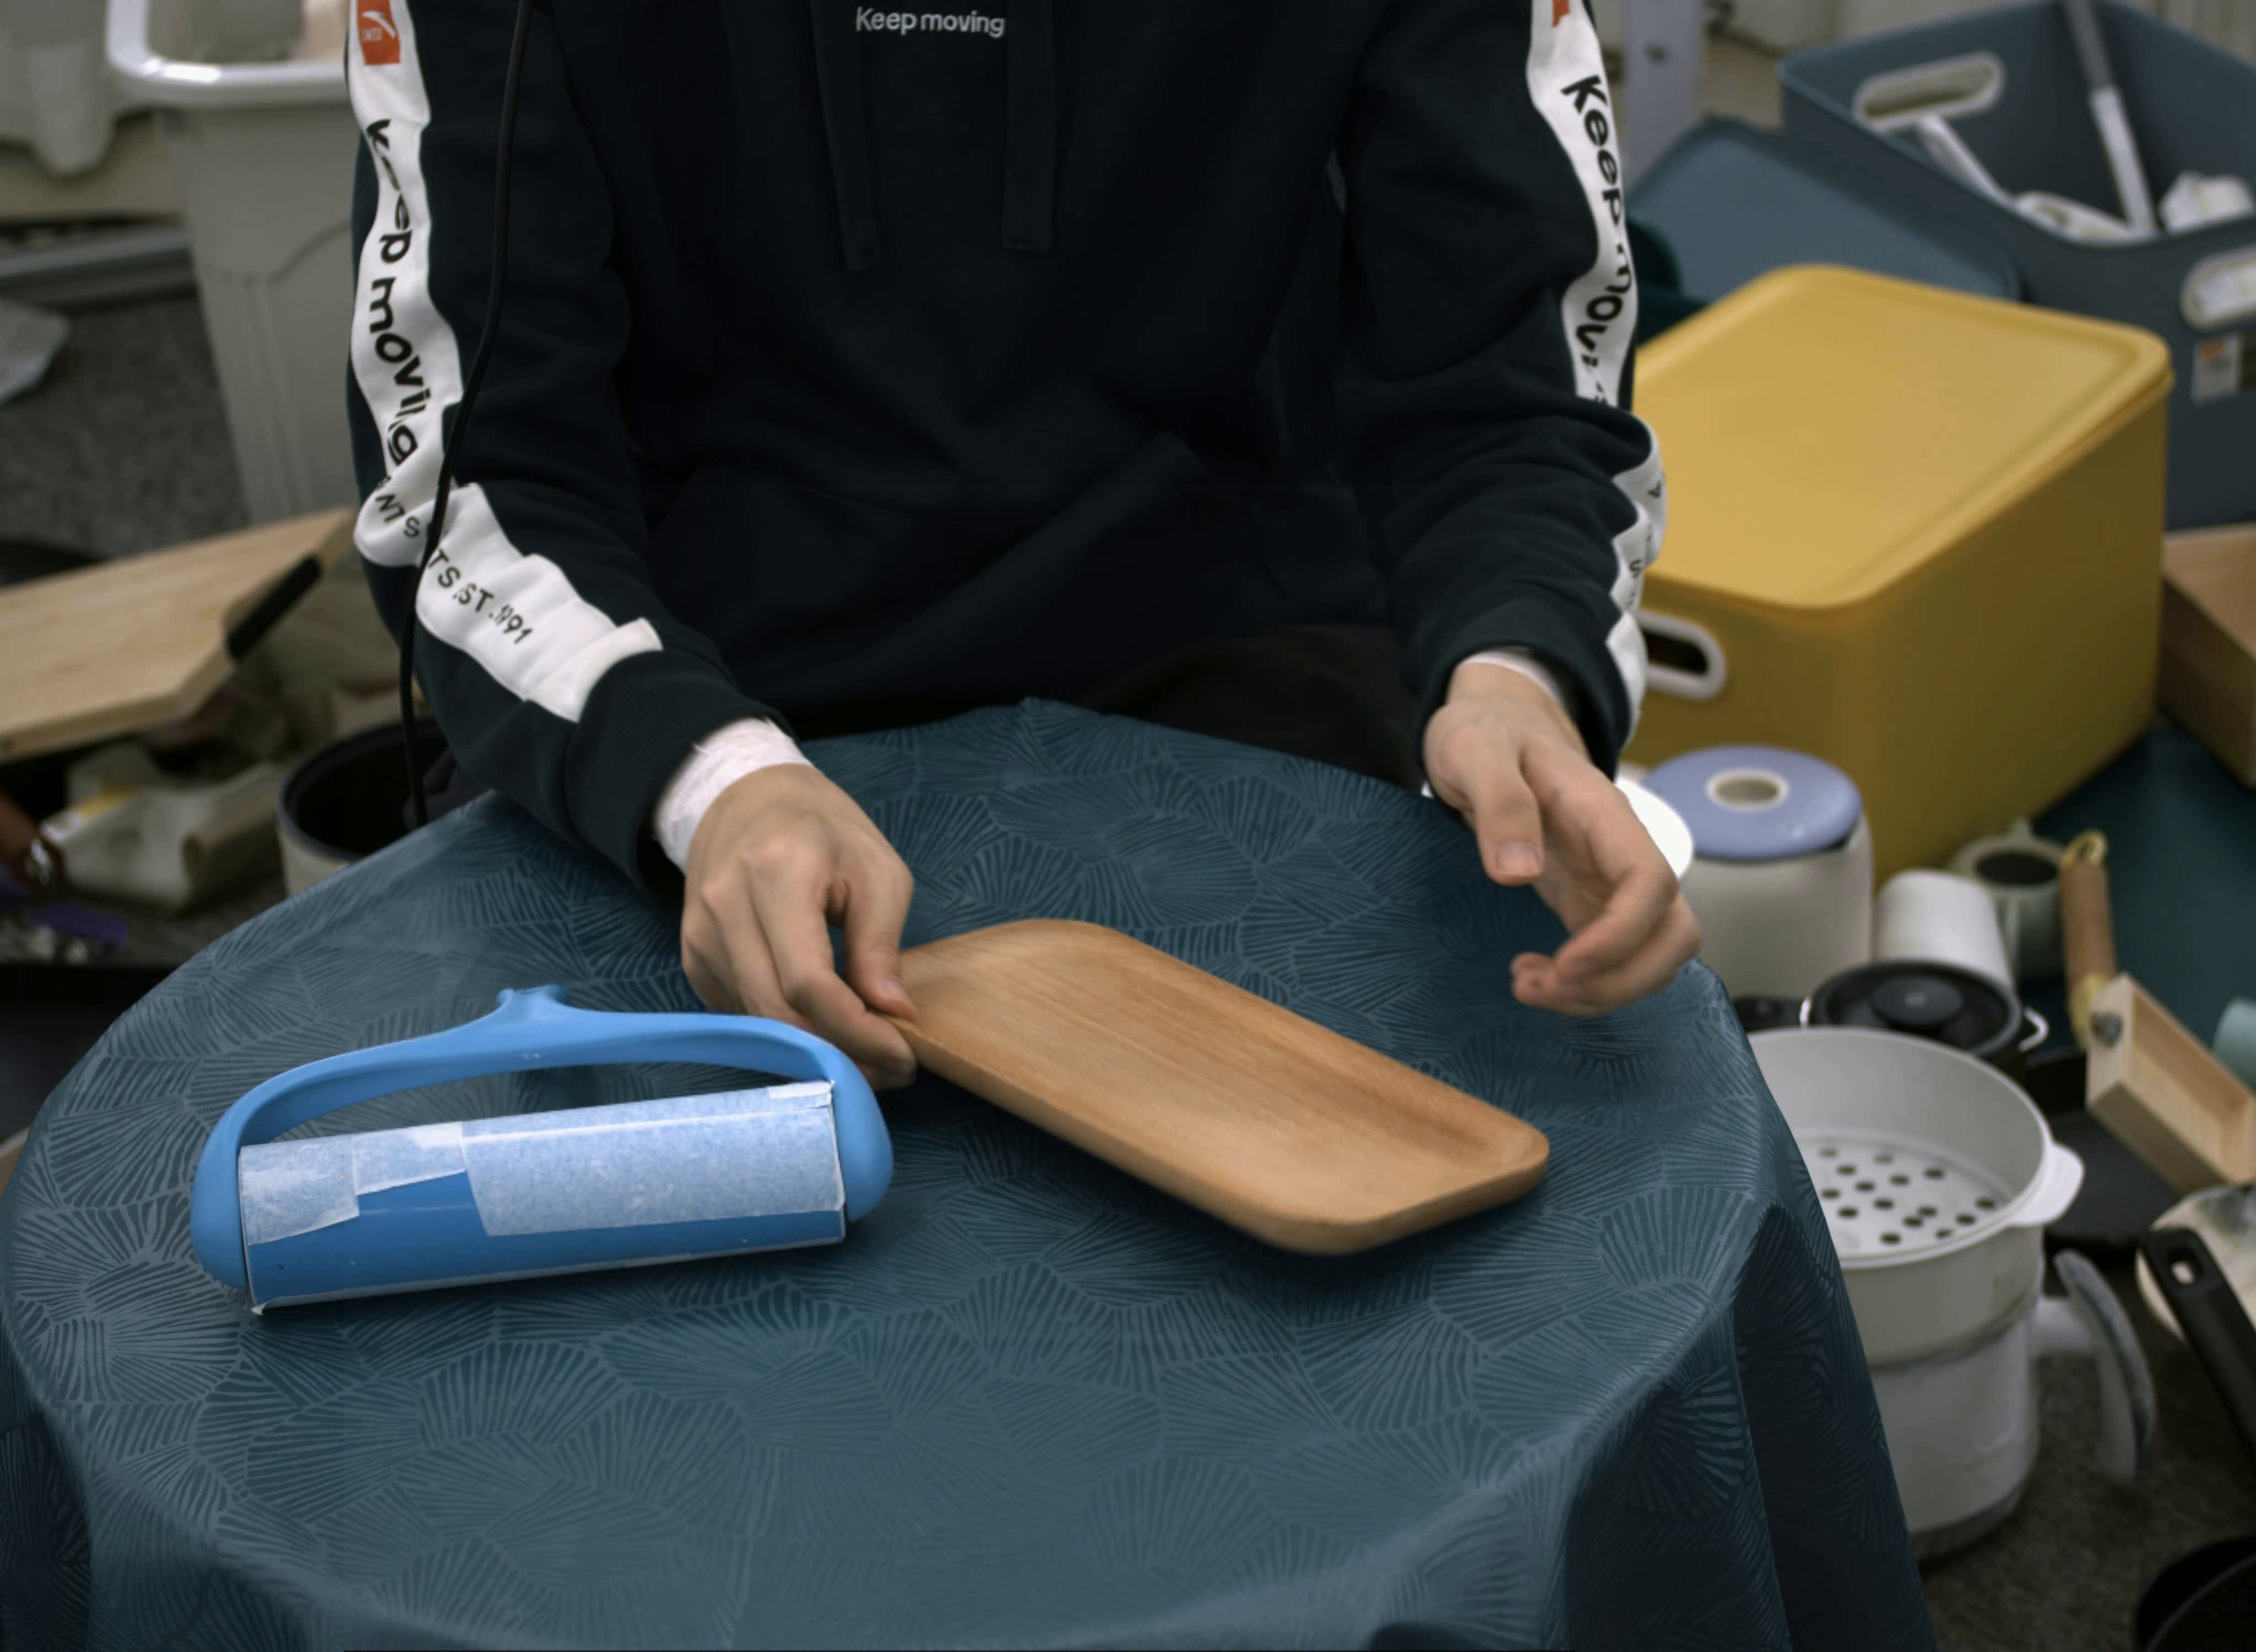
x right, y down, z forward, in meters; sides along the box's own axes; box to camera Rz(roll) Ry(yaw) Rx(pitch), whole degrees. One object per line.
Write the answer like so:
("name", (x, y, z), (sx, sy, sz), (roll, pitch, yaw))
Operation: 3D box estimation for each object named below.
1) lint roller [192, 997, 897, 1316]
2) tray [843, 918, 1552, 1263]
("lint roller", (-0.199, 0.093, 1.874), (0.228, 0.067, 0.182), (-8, 29, -8))
("tray", (0.020, 0.087, 1.886), (0.131, 0.023, 0.250), (-10, 25, -41))
